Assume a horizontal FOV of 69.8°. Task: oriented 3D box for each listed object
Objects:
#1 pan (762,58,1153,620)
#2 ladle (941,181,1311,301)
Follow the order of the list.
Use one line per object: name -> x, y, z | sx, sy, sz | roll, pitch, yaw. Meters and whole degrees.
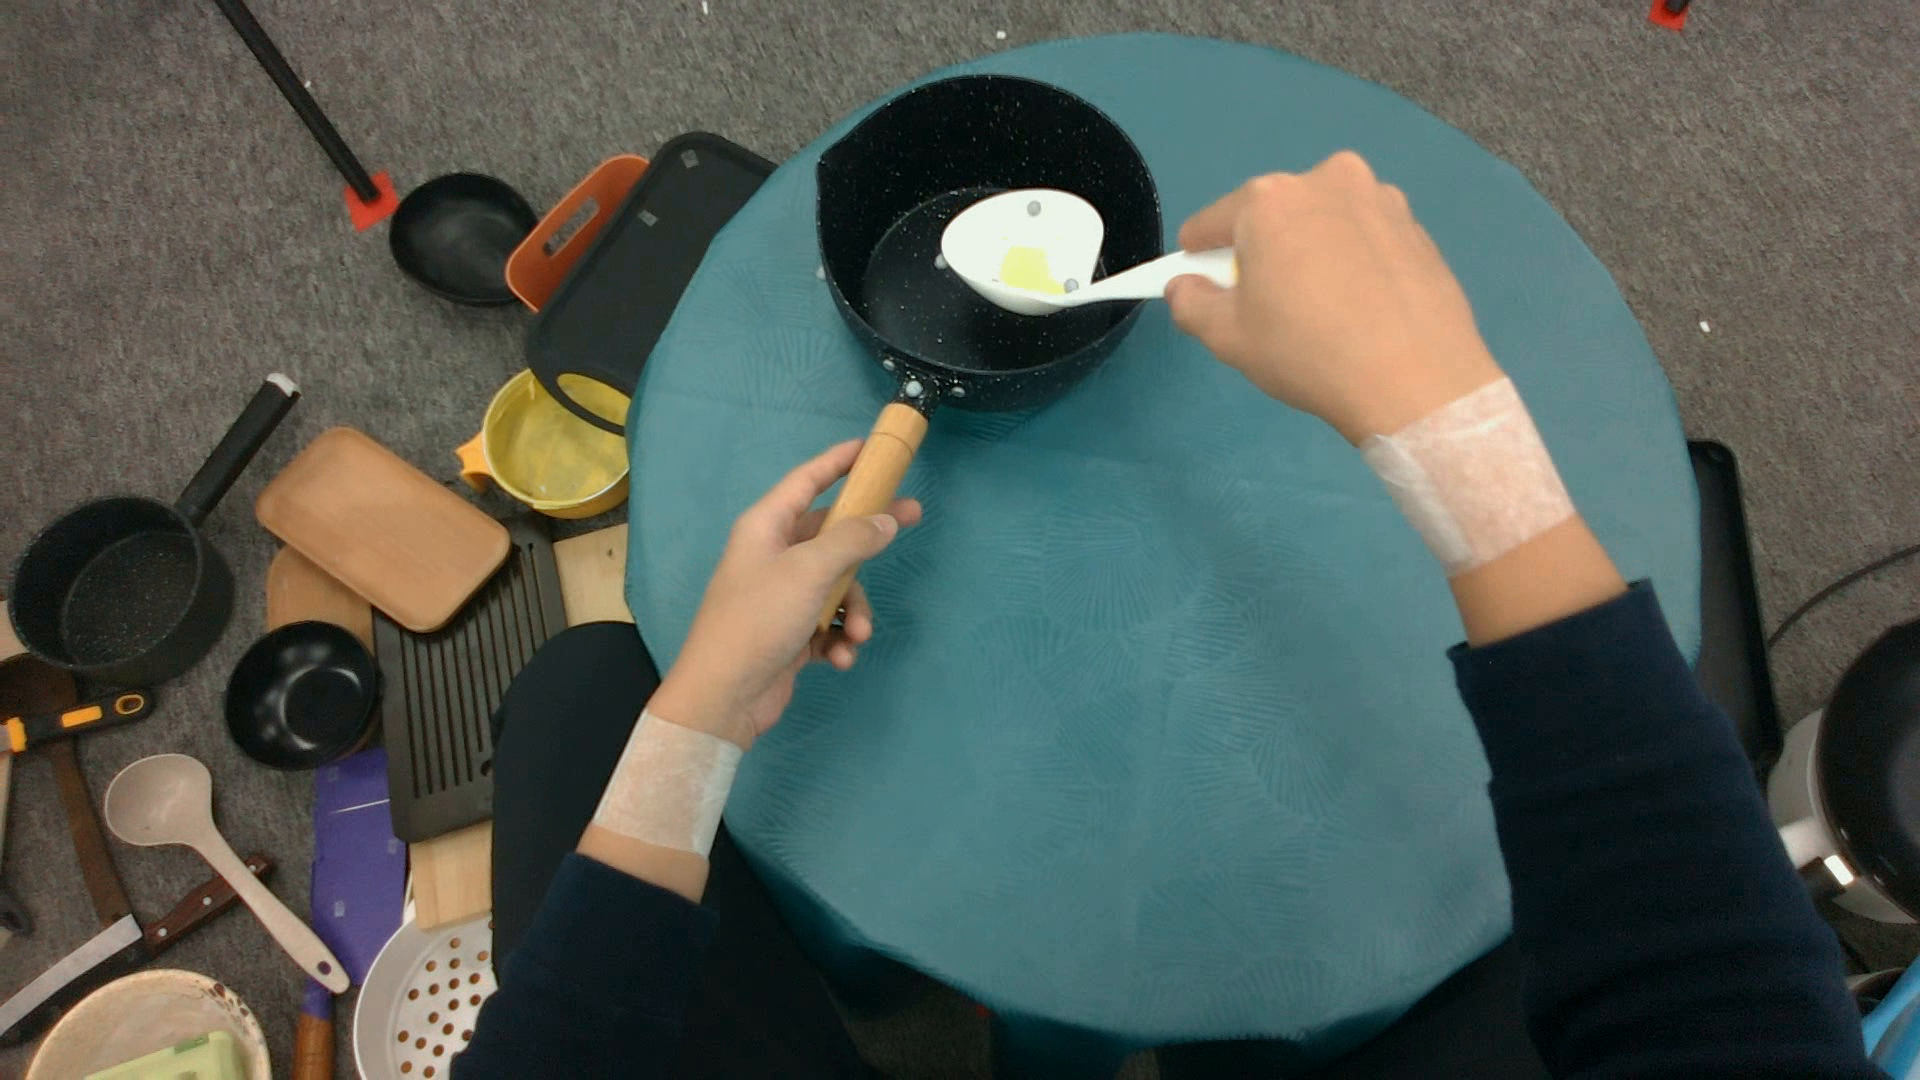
pan -> -0.019, -0.099, 0.735 | 0.207, 0.108, 0.344 | 19, 70, 5
ladle -> 0.071, -0.148, 0.654 | 0.090, 0.293, 0.070 | -13, 103, -16
